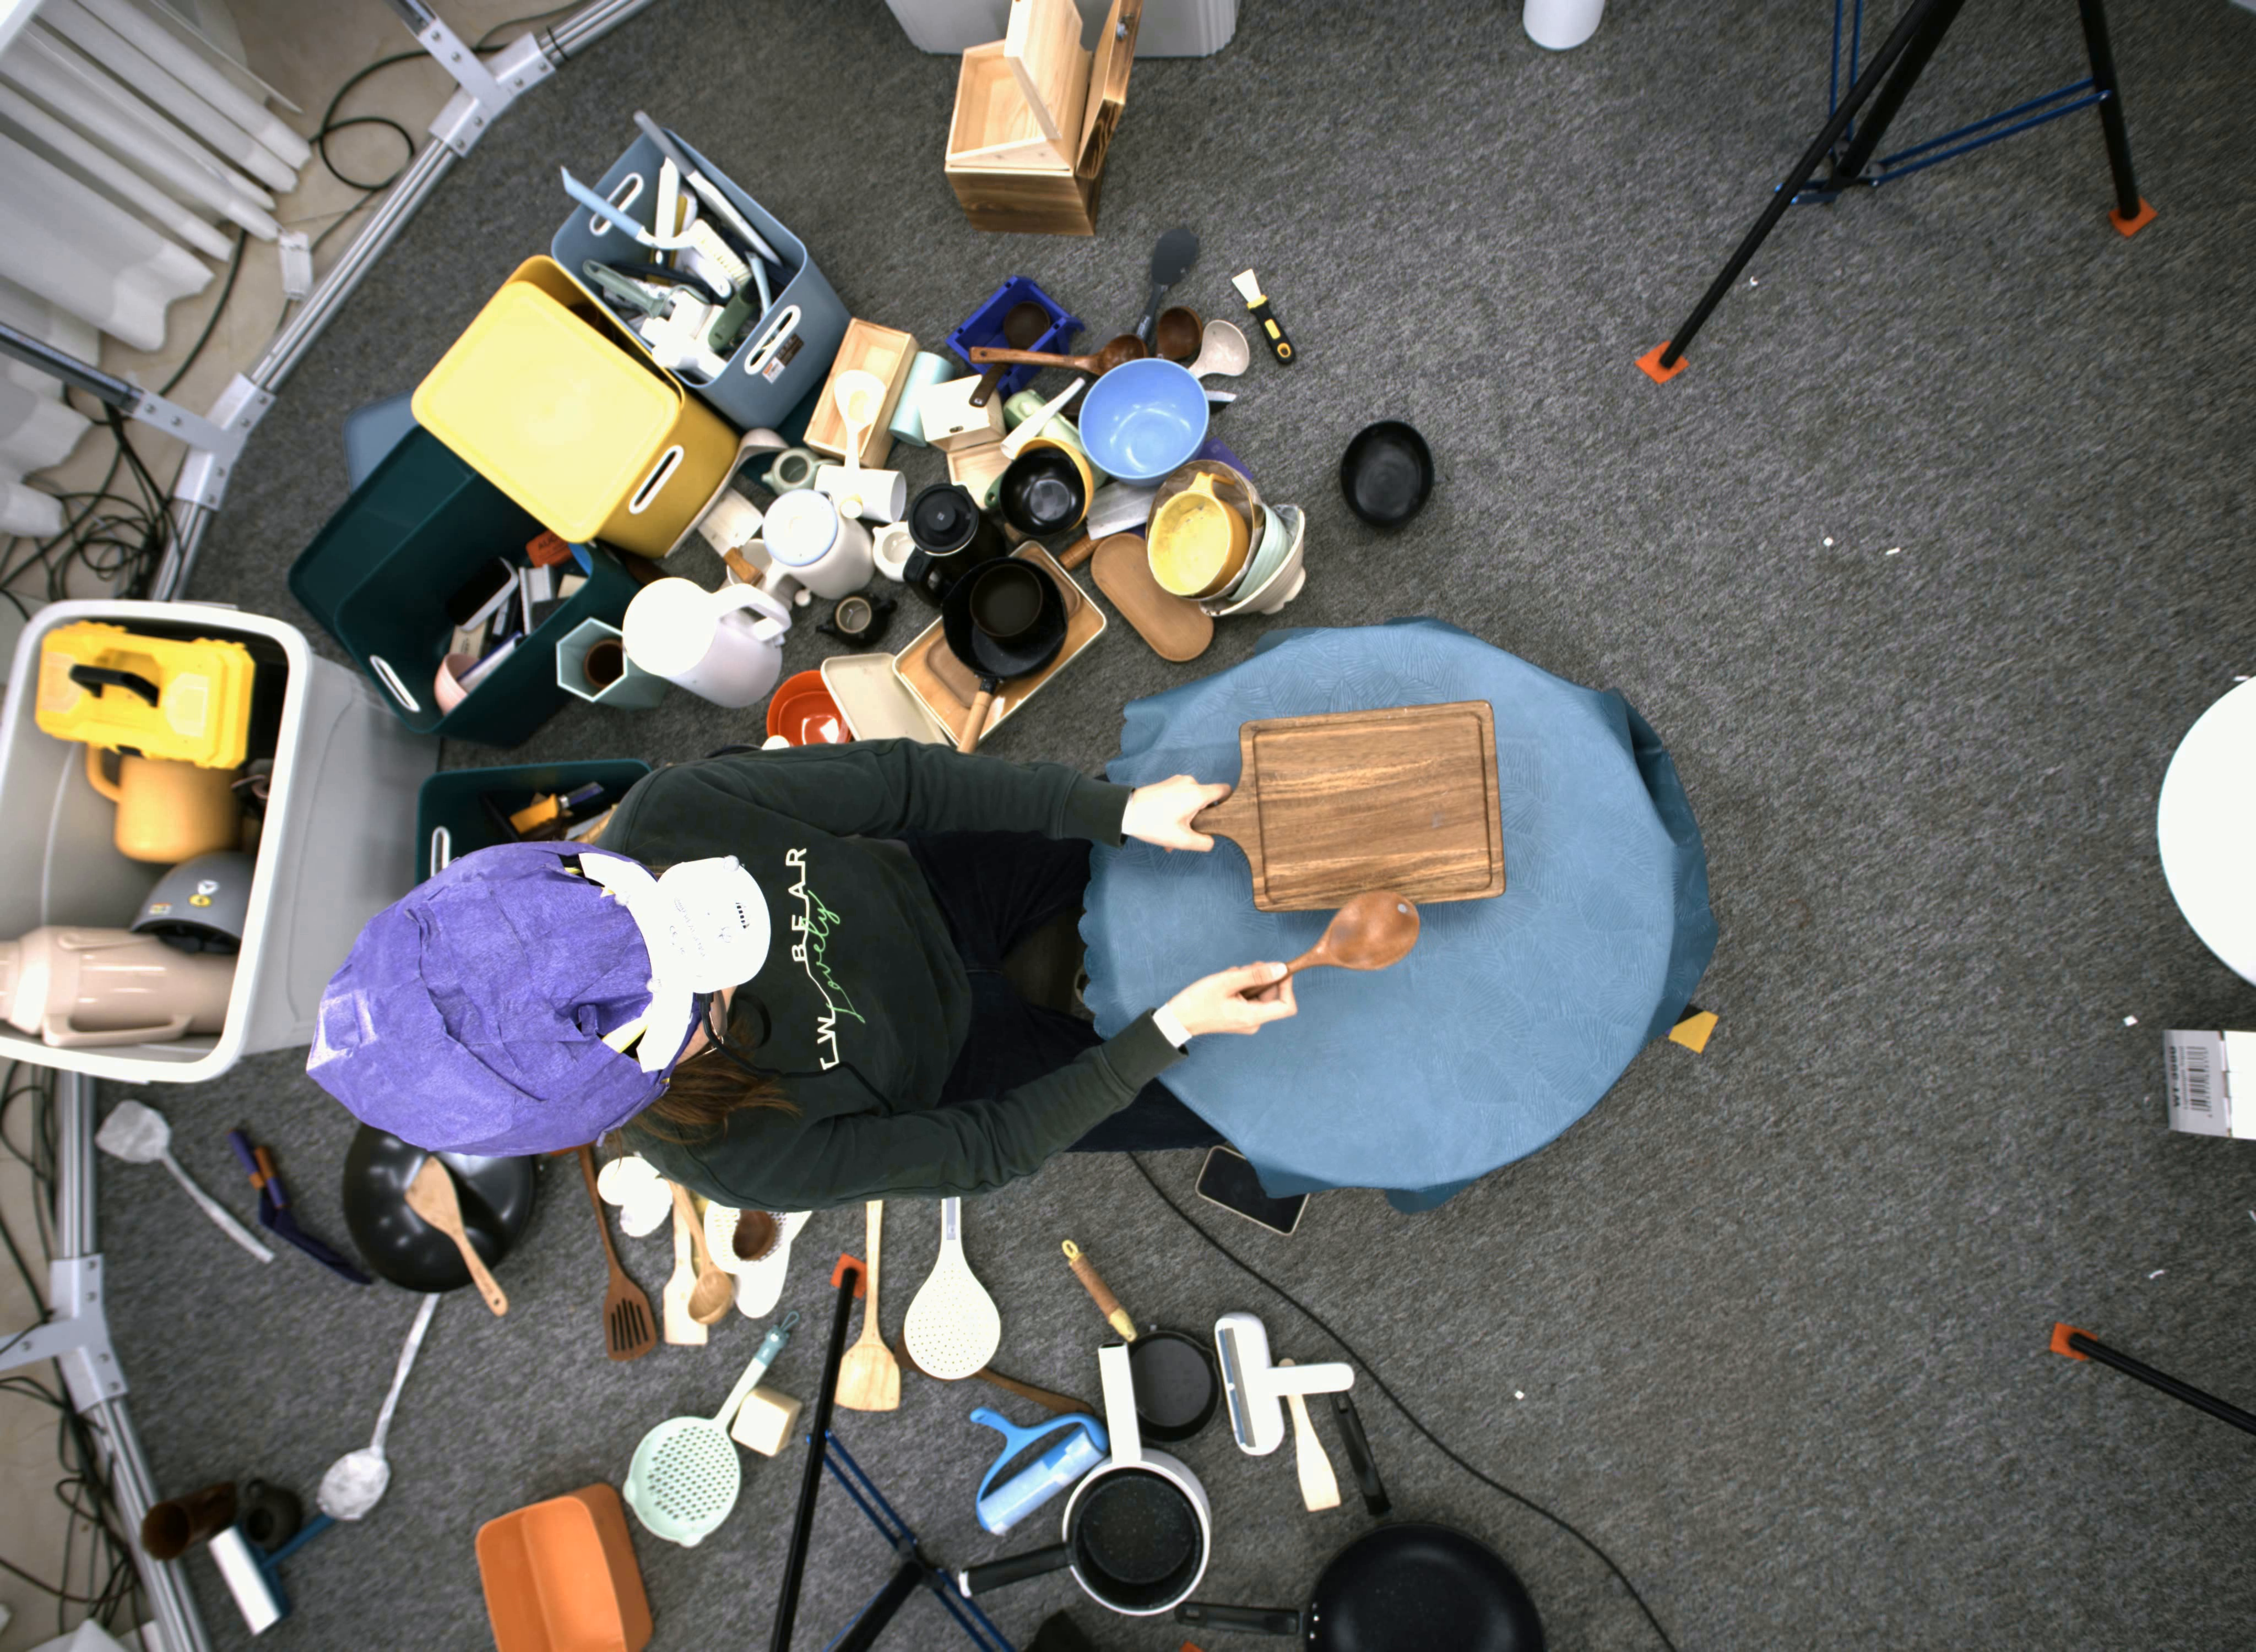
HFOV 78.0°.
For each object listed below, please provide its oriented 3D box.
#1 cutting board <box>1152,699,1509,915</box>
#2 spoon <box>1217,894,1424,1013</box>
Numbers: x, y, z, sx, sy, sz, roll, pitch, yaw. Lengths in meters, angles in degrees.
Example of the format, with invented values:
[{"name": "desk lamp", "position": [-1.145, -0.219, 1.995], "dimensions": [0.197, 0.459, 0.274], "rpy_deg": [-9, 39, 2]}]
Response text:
[{"name": "cutting board", "position": [0.197, -0.014, 1.390], "dimensions": [0.354, 0.023, 0.202], "rpy_deg": [-4, 99, 13]}, {"name": "spoon", "position": [0.184, 0.130, 1.341], "dimensions": [0.218, 0.017, 0.074], "rpy_deg": [-25, 73, 14]}]
